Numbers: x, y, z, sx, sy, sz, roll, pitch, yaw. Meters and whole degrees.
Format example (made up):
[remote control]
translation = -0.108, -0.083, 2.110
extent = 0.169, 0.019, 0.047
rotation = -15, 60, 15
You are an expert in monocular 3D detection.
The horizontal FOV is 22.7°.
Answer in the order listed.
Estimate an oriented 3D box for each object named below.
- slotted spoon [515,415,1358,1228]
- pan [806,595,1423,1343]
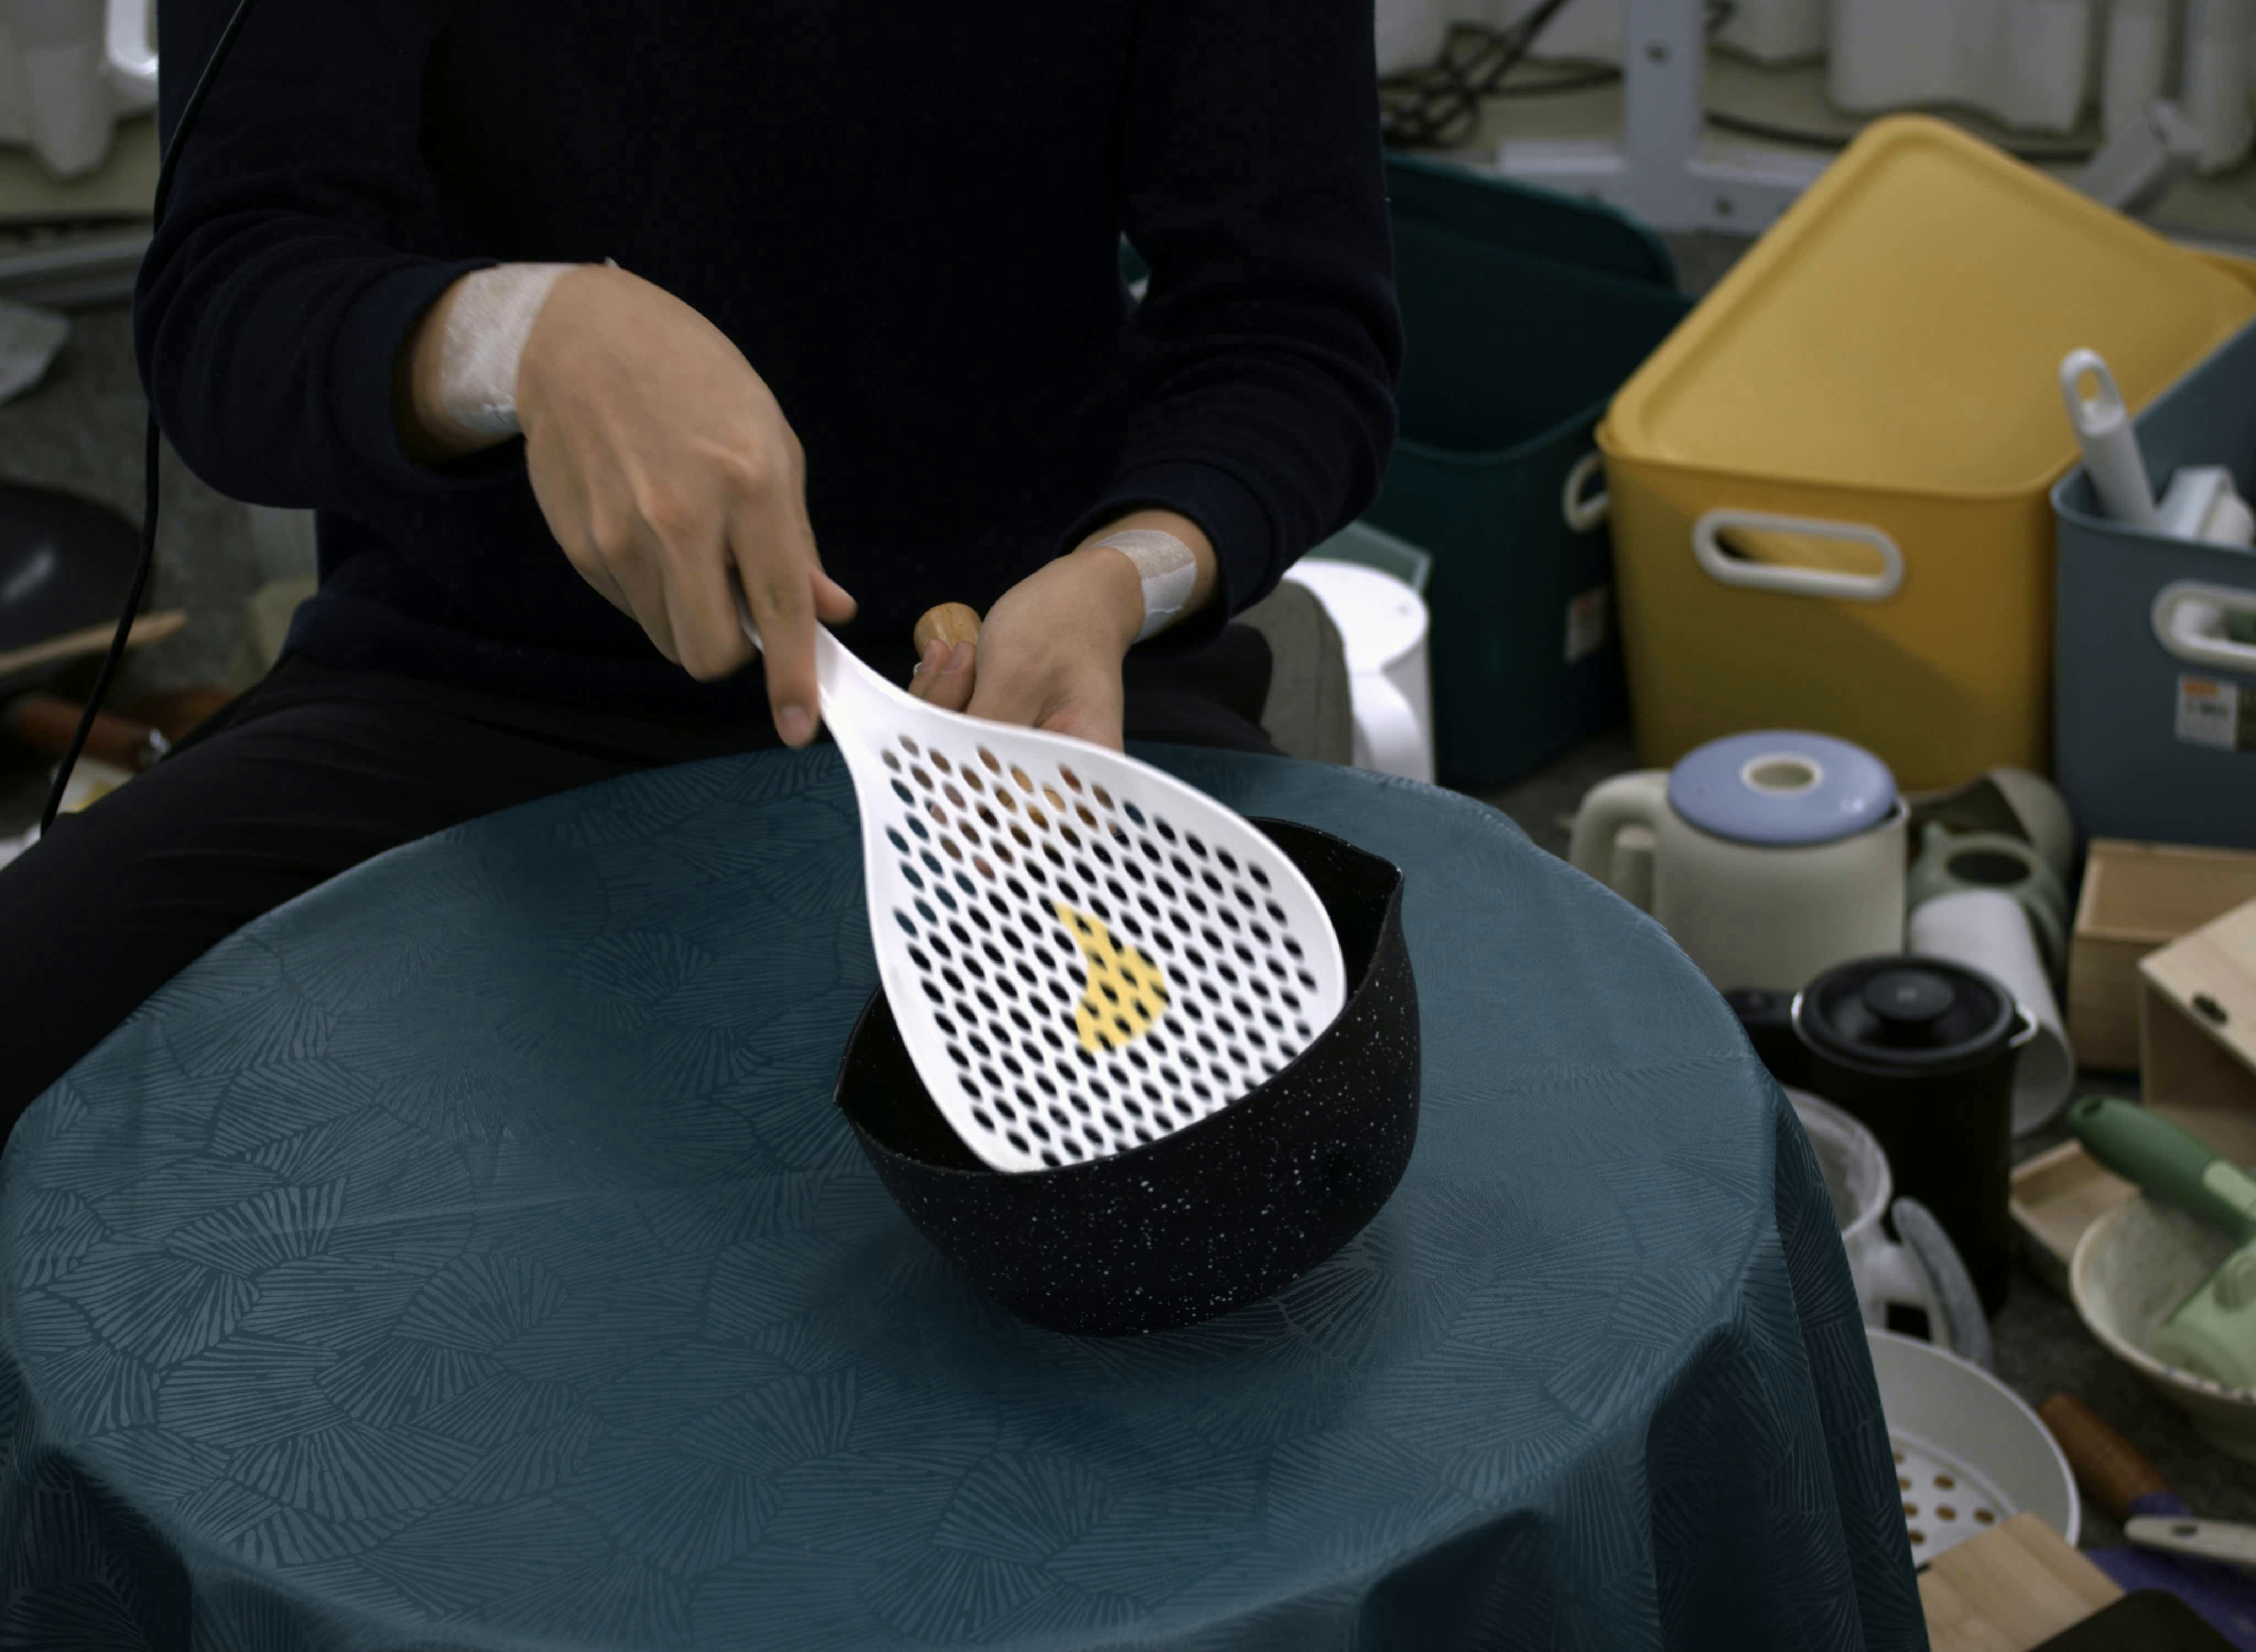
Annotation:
[slotted spoon]
translation = -0.072, -0.018, 1.780
extent = 0.137, 0.050, 0.349
rotation = -43, 79, -7
[pan]
translation = -0.014, 0.040, 1.867
extent = 0.207, 0.107, 0.346
rotation = -25, 31, -2
